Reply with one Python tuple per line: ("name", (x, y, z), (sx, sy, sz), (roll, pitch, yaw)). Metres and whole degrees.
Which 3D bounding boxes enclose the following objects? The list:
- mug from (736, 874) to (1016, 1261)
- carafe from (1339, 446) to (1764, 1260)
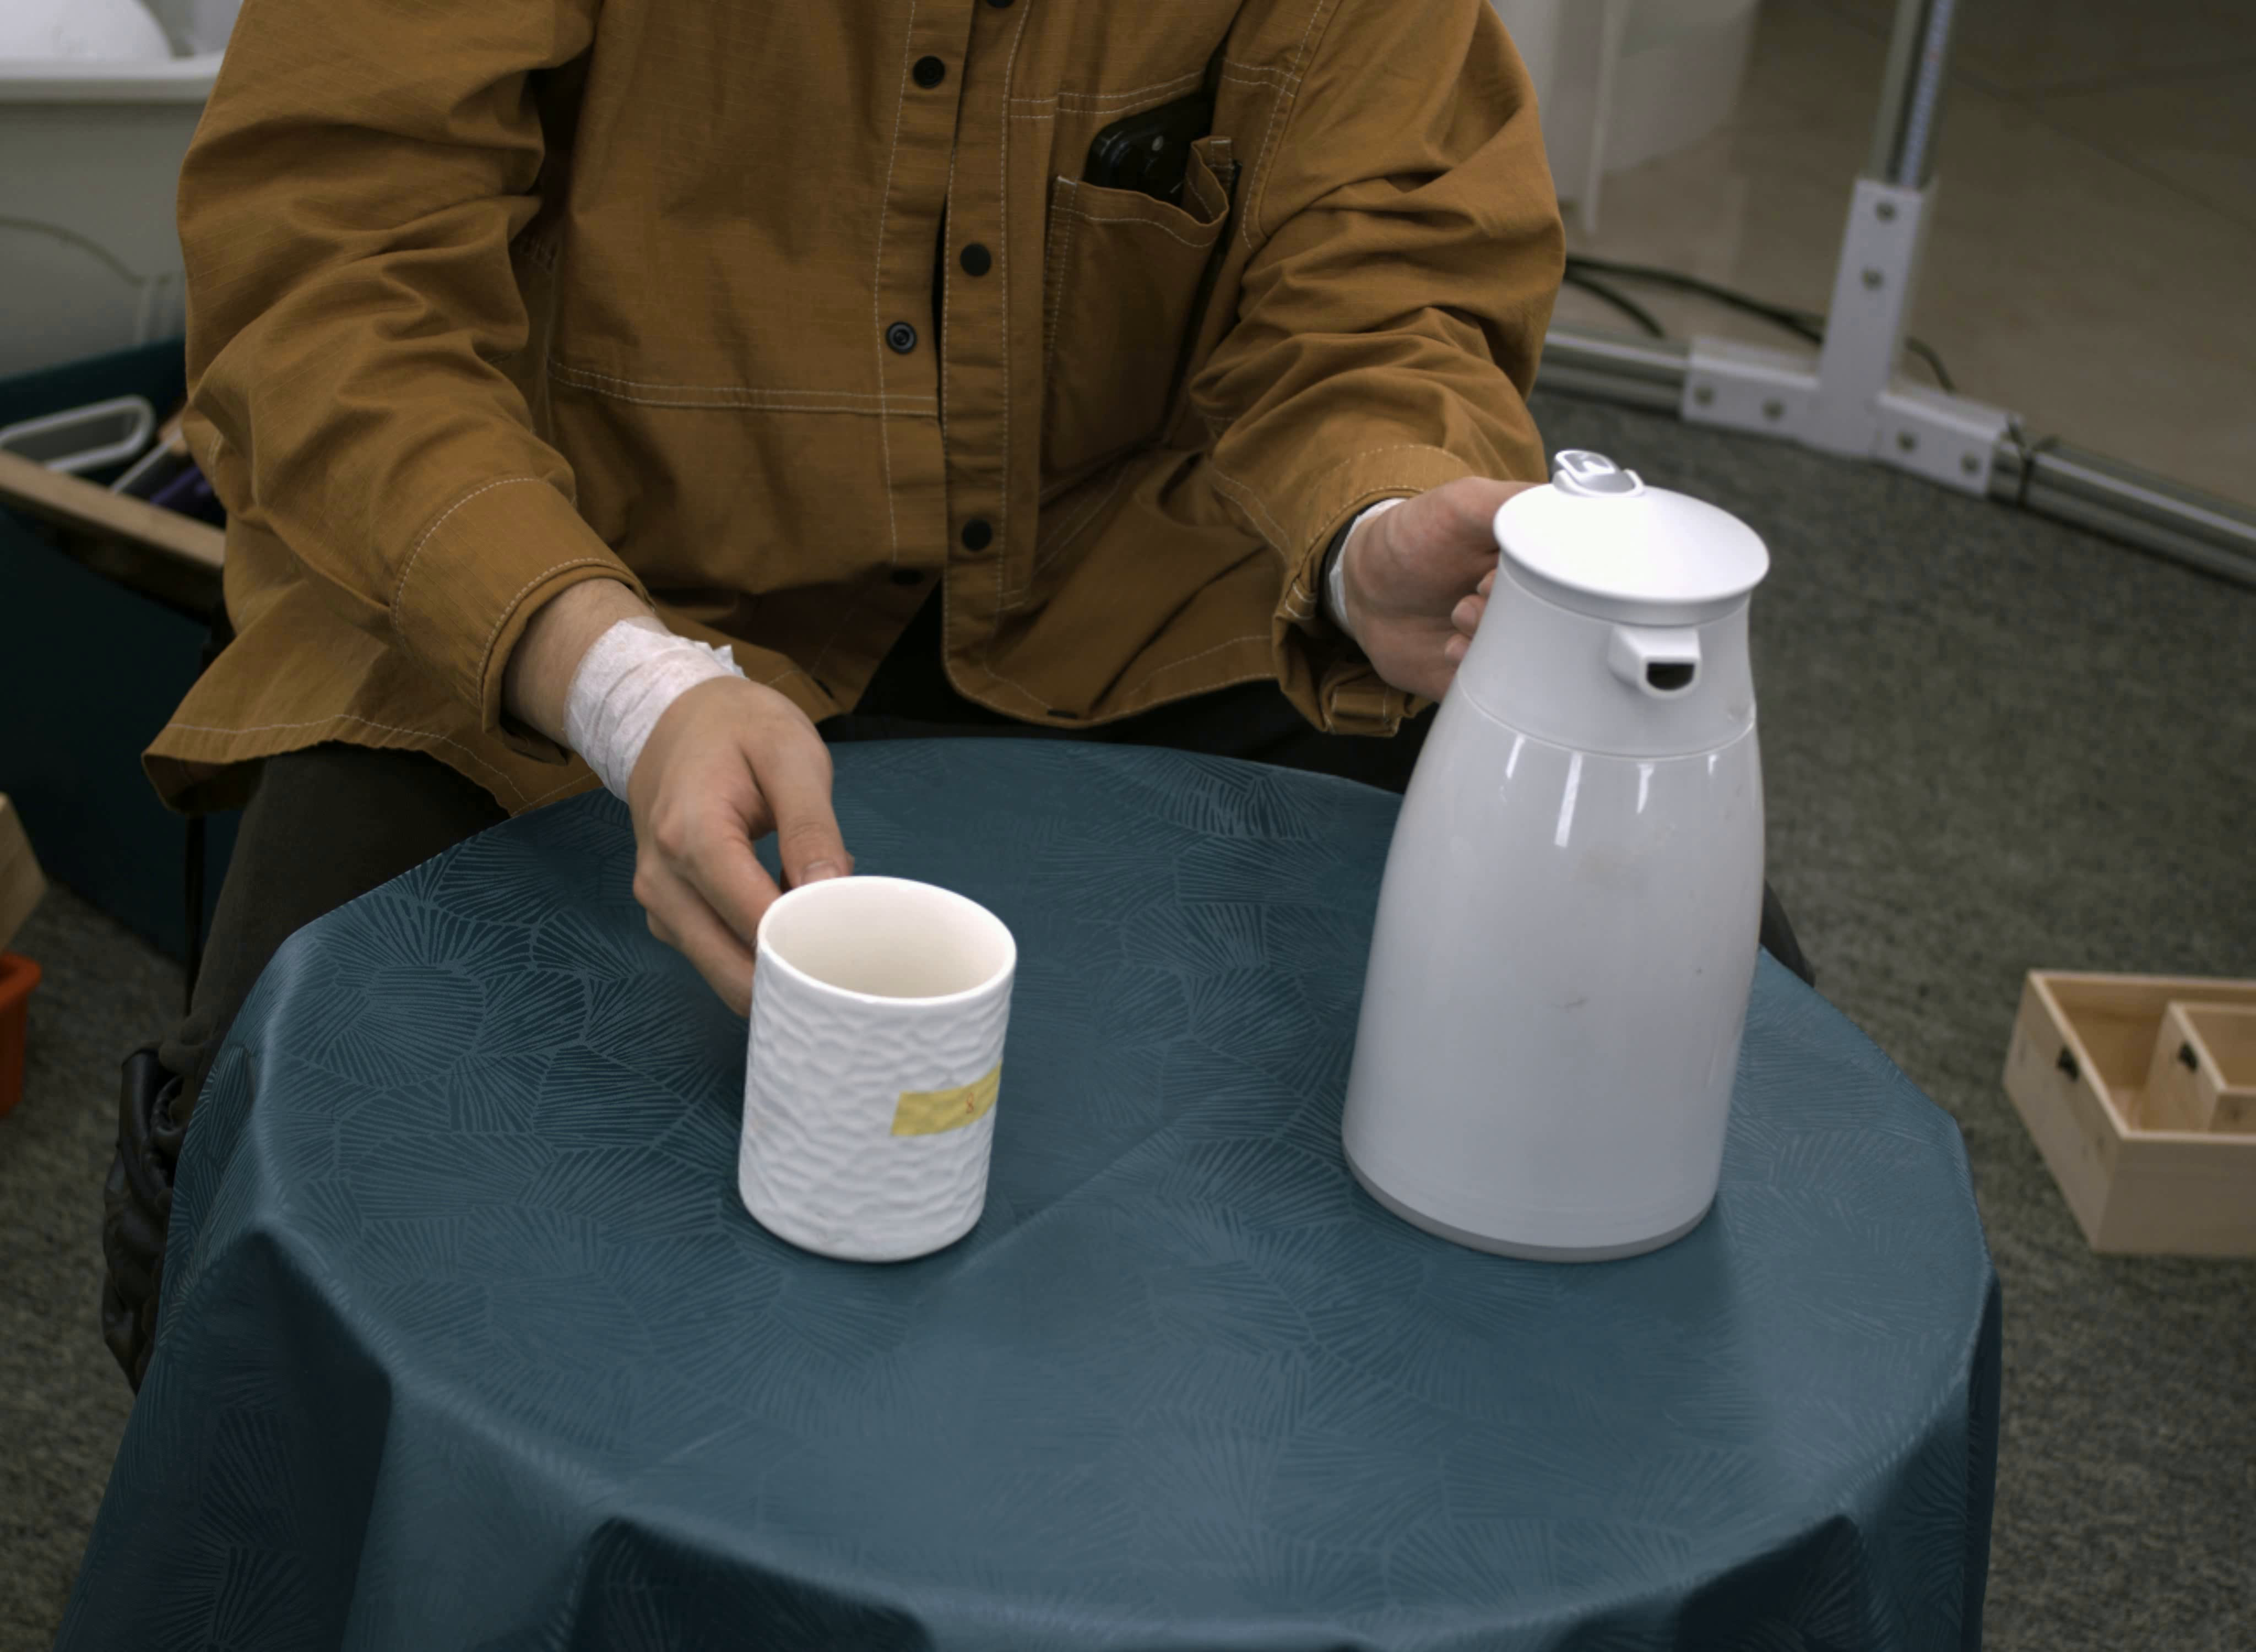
("mug", (-0.091, 0.074, 1.771), (0.084, 0.101, 0.119), (-5, 28, -23))
("carafe", (0.146, -0.001, 1.811), (0.132, 0.248, 0.169), (0, 27, -12))
